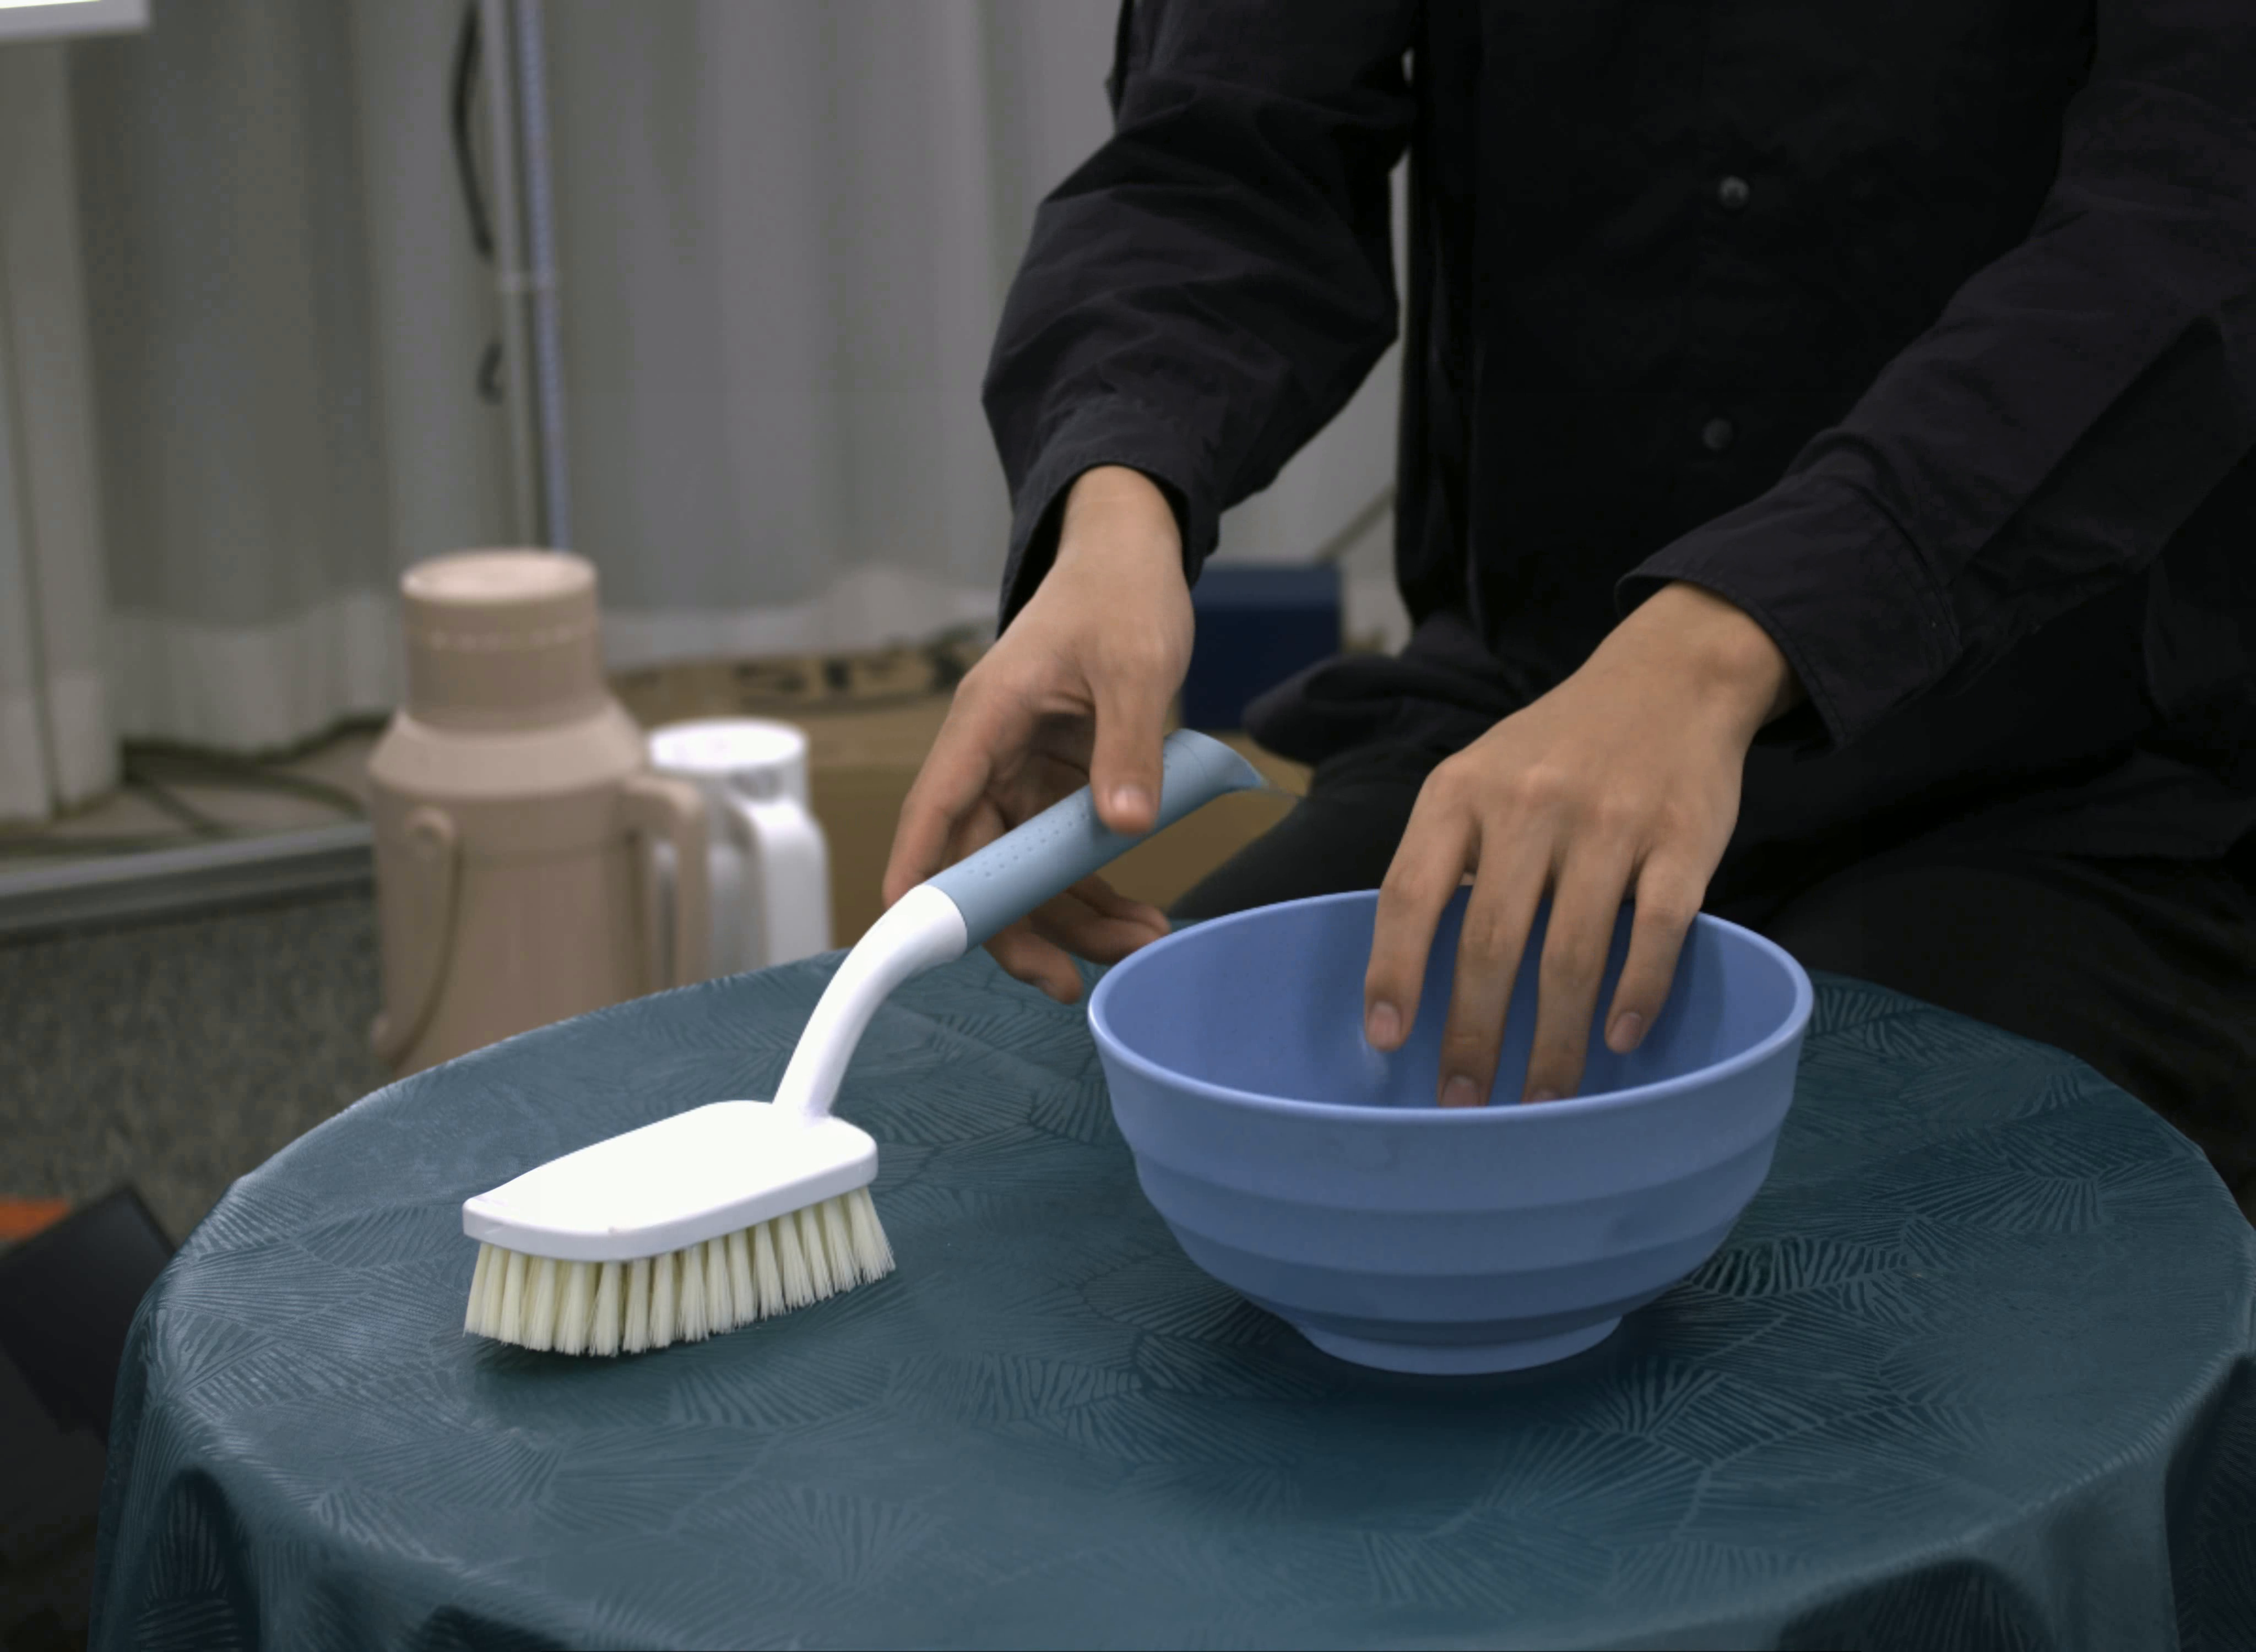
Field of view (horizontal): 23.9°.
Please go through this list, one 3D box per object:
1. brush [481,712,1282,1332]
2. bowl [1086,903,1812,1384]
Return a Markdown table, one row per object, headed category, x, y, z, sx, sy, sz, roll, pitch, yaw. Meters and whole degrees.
| category | x | y | z | sx | sy | sz | roll | pitch | yaw |
| --- | --- | --- | --- | --- | --- | --- | --- | --- | --- |
| brush | -0.058 | 0.071 | 1.552 | 0.320 | 0.085 | 0.084 | -32 | 67 | -37 |
| bowl | 0.088 | 0.092 | 1.445 | 0.195 | 0.095 | 0.197 | -3 | 15 | -1 |
